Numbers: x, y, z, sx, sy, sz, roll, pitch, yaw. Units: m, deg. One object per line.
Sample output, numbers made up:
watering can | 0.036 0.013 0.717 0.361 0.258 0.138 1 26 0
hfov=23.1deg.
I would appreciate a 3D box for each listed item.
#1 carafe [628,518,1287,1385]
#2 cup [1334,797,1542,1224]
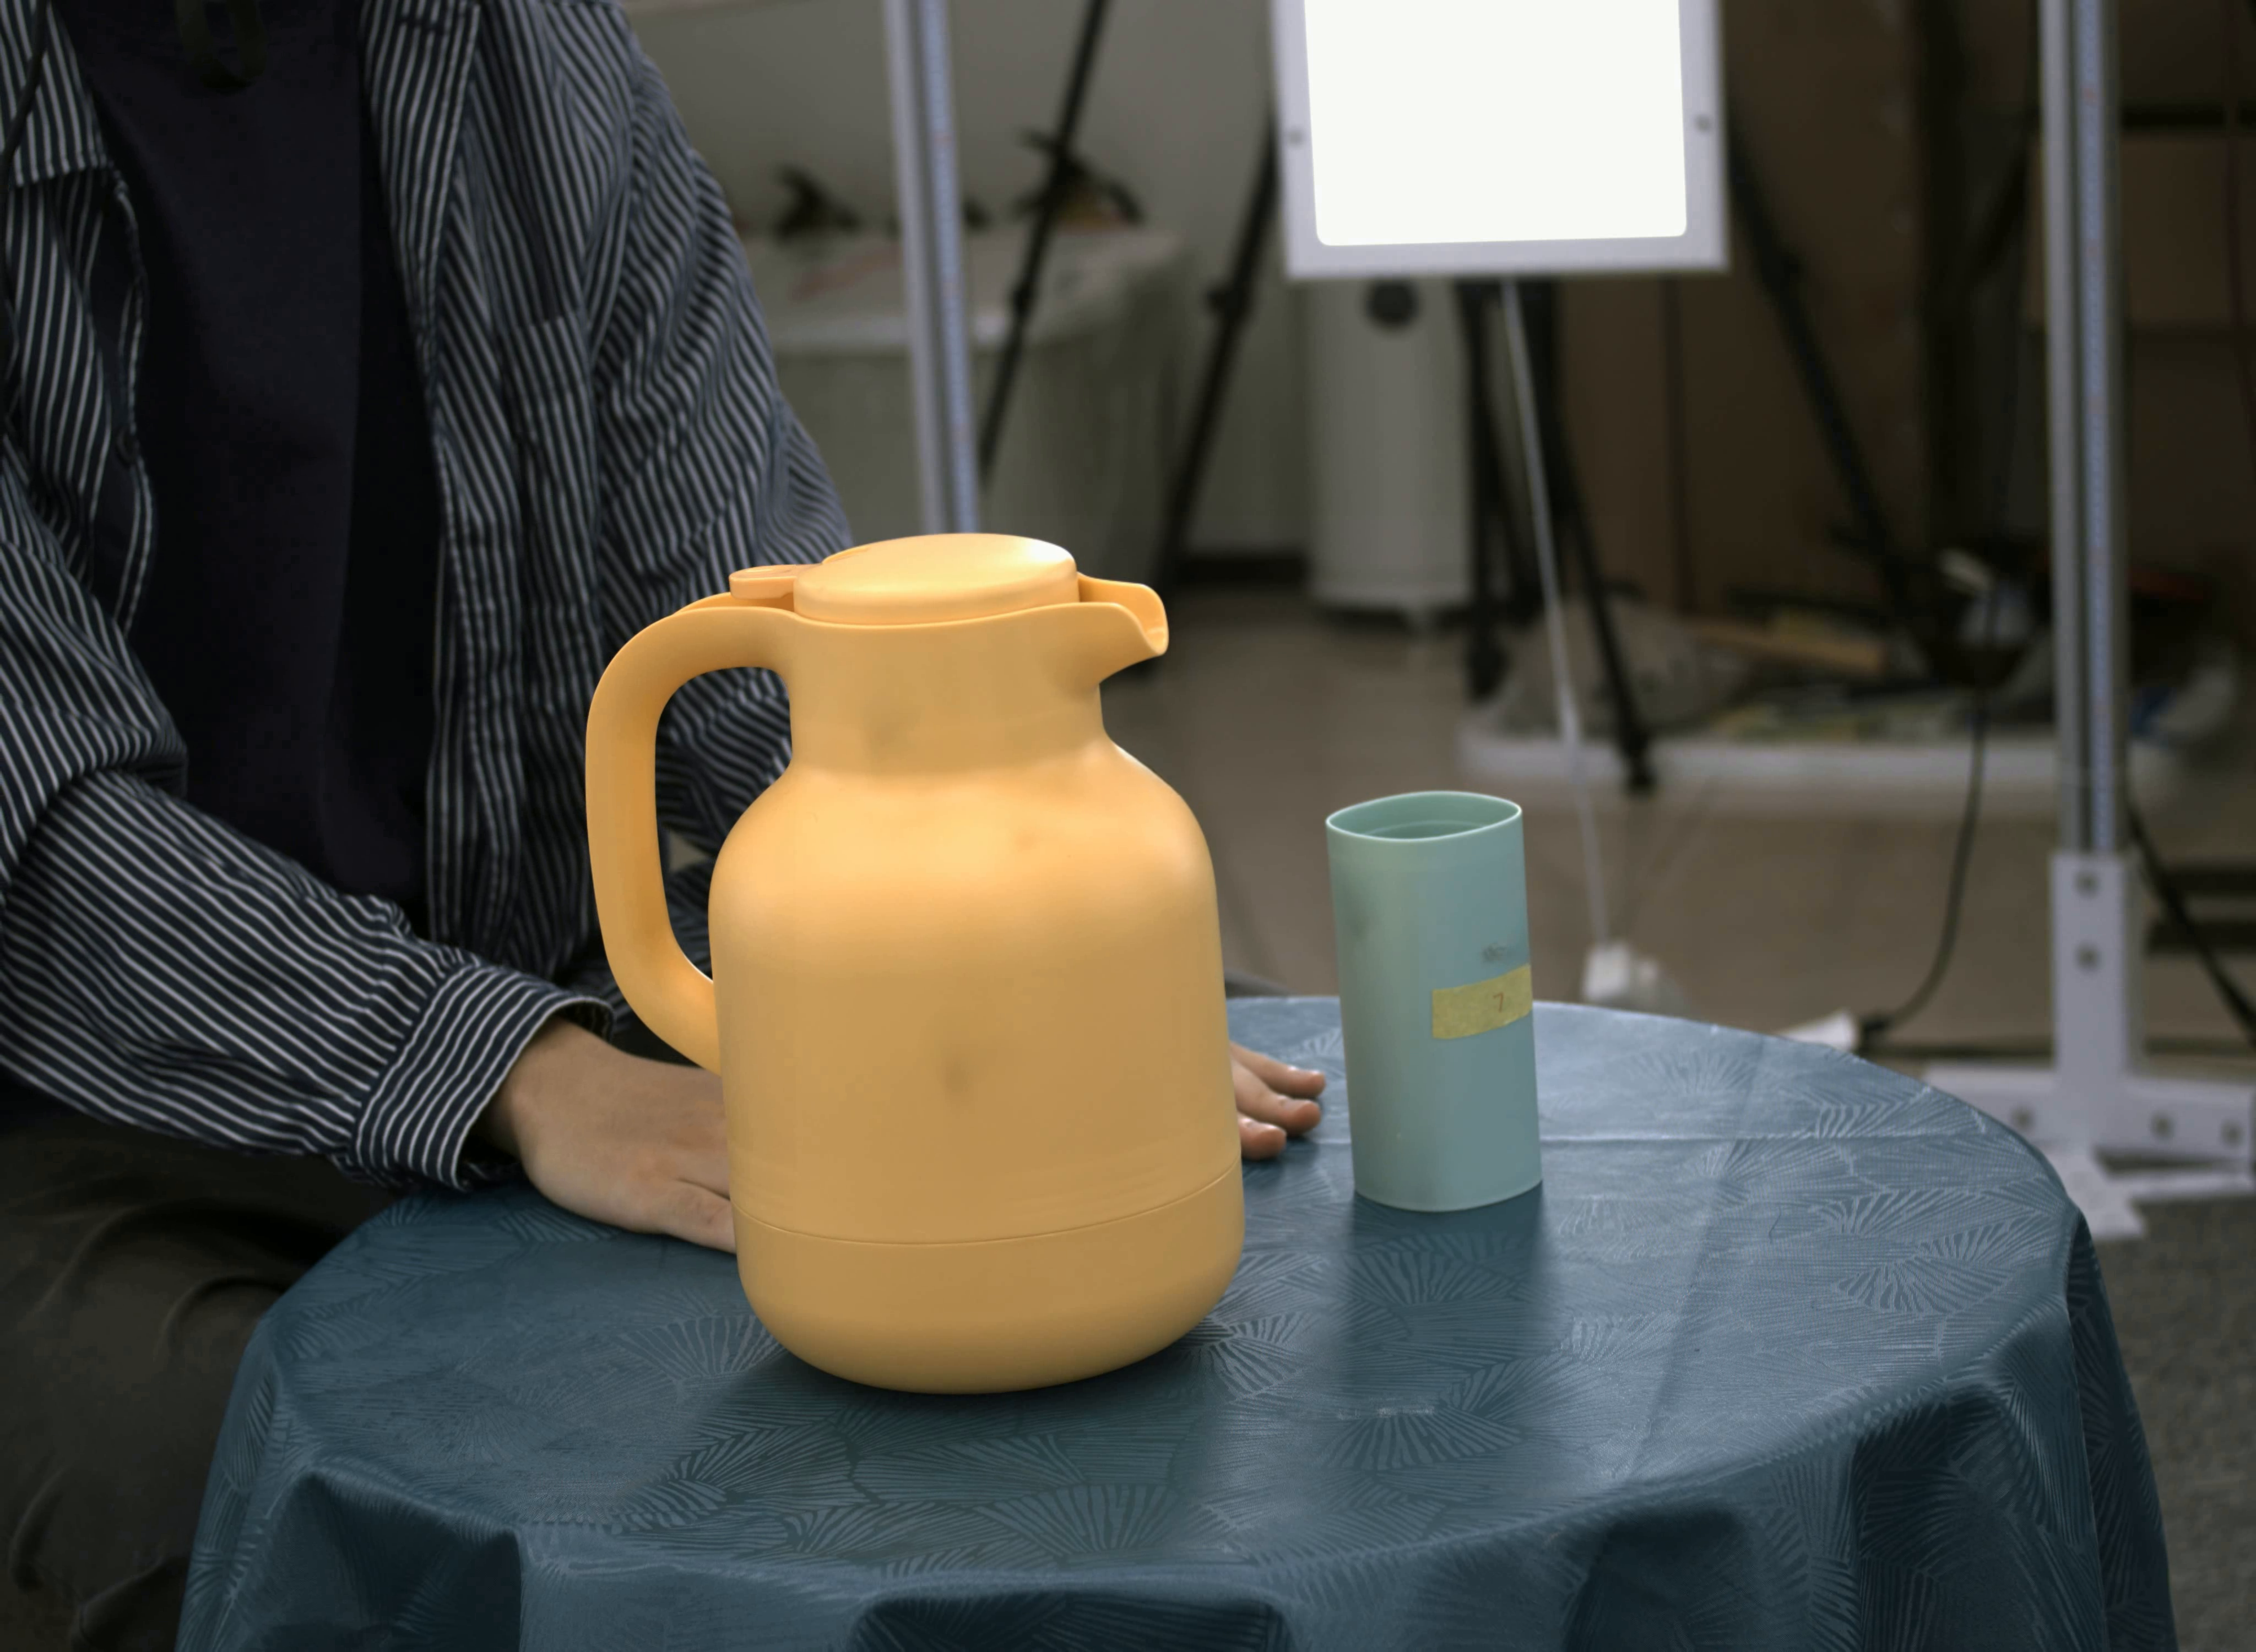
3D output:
carafe | -0.055 0.035 1.739 0.205 0.261 0.161 0 13 19
cup | 0.105 0.061 1.856 0.066 0.133 0.066 -4 15 0
